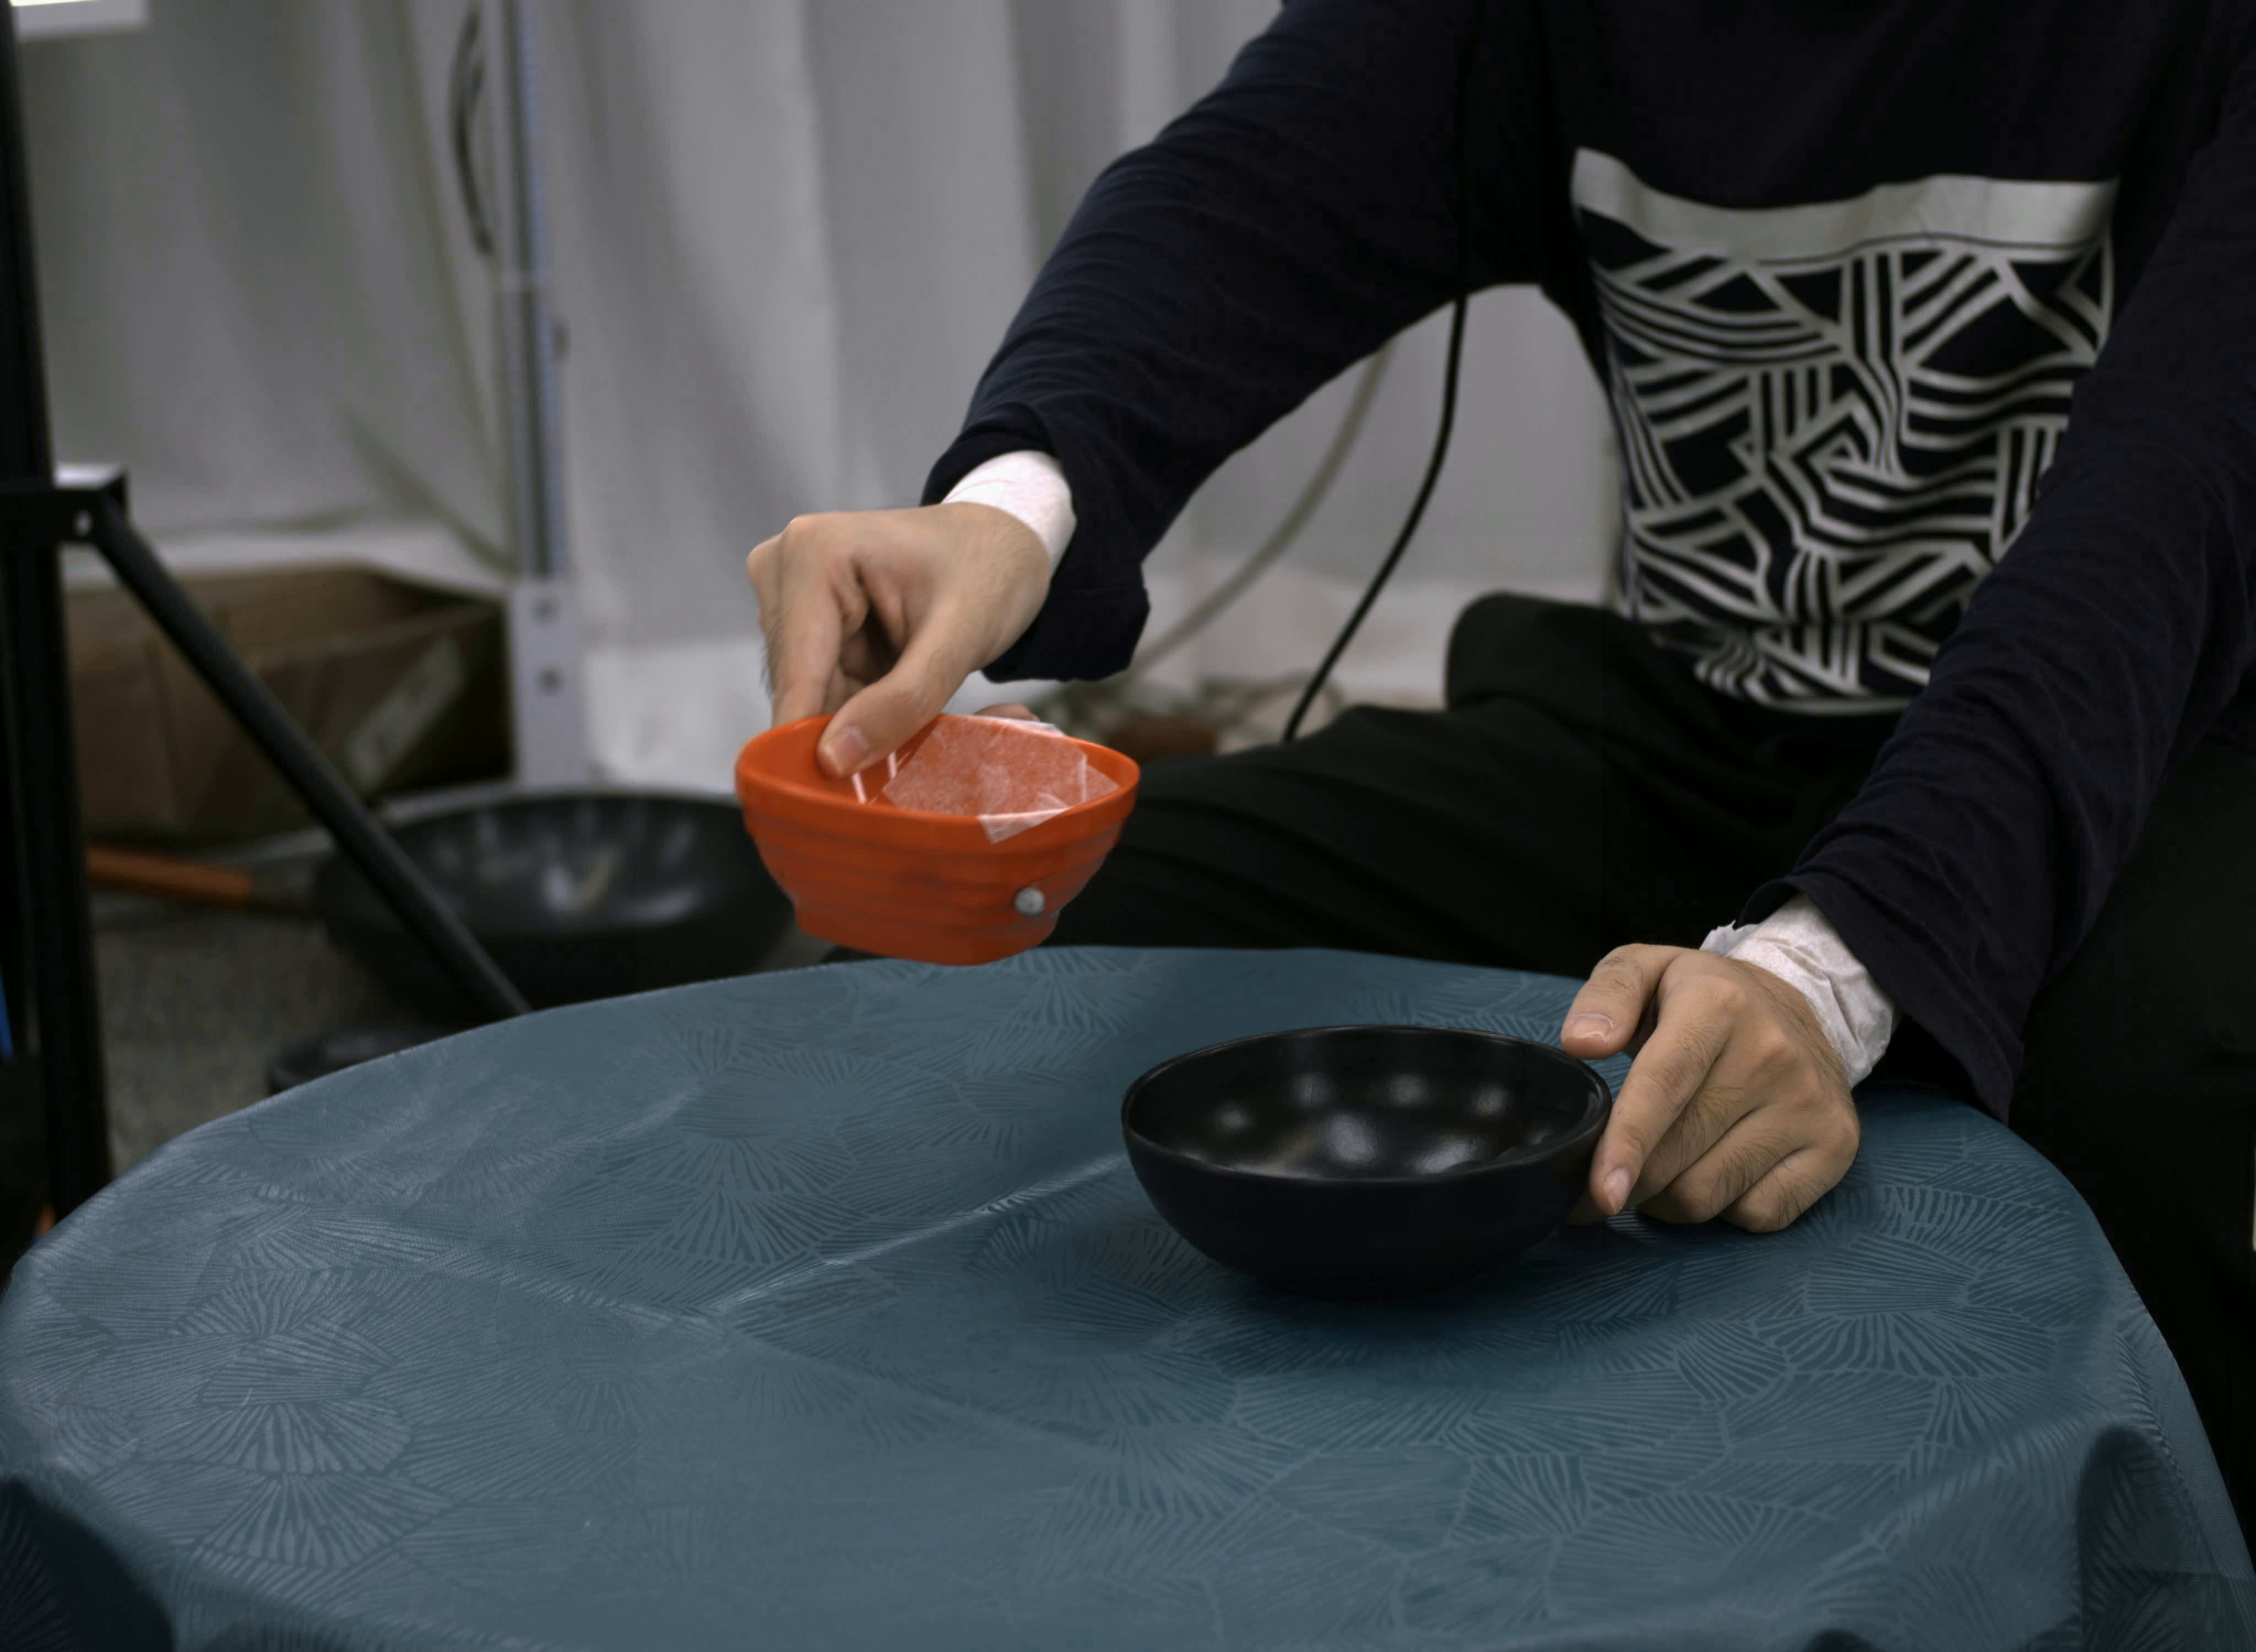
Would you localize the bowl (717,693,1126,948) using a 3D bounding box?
[{"bbox_3d":[-0.057,0.000,1.527,0.118,0.051,0.119,-5,16,0],"label":"bowl"}]

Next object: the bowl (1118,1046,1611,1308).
[{"bbox_3d":[0.067,0.103,1.491,0.139,0.050,0.140,-1,11,-1],"label":"bowl"}]
